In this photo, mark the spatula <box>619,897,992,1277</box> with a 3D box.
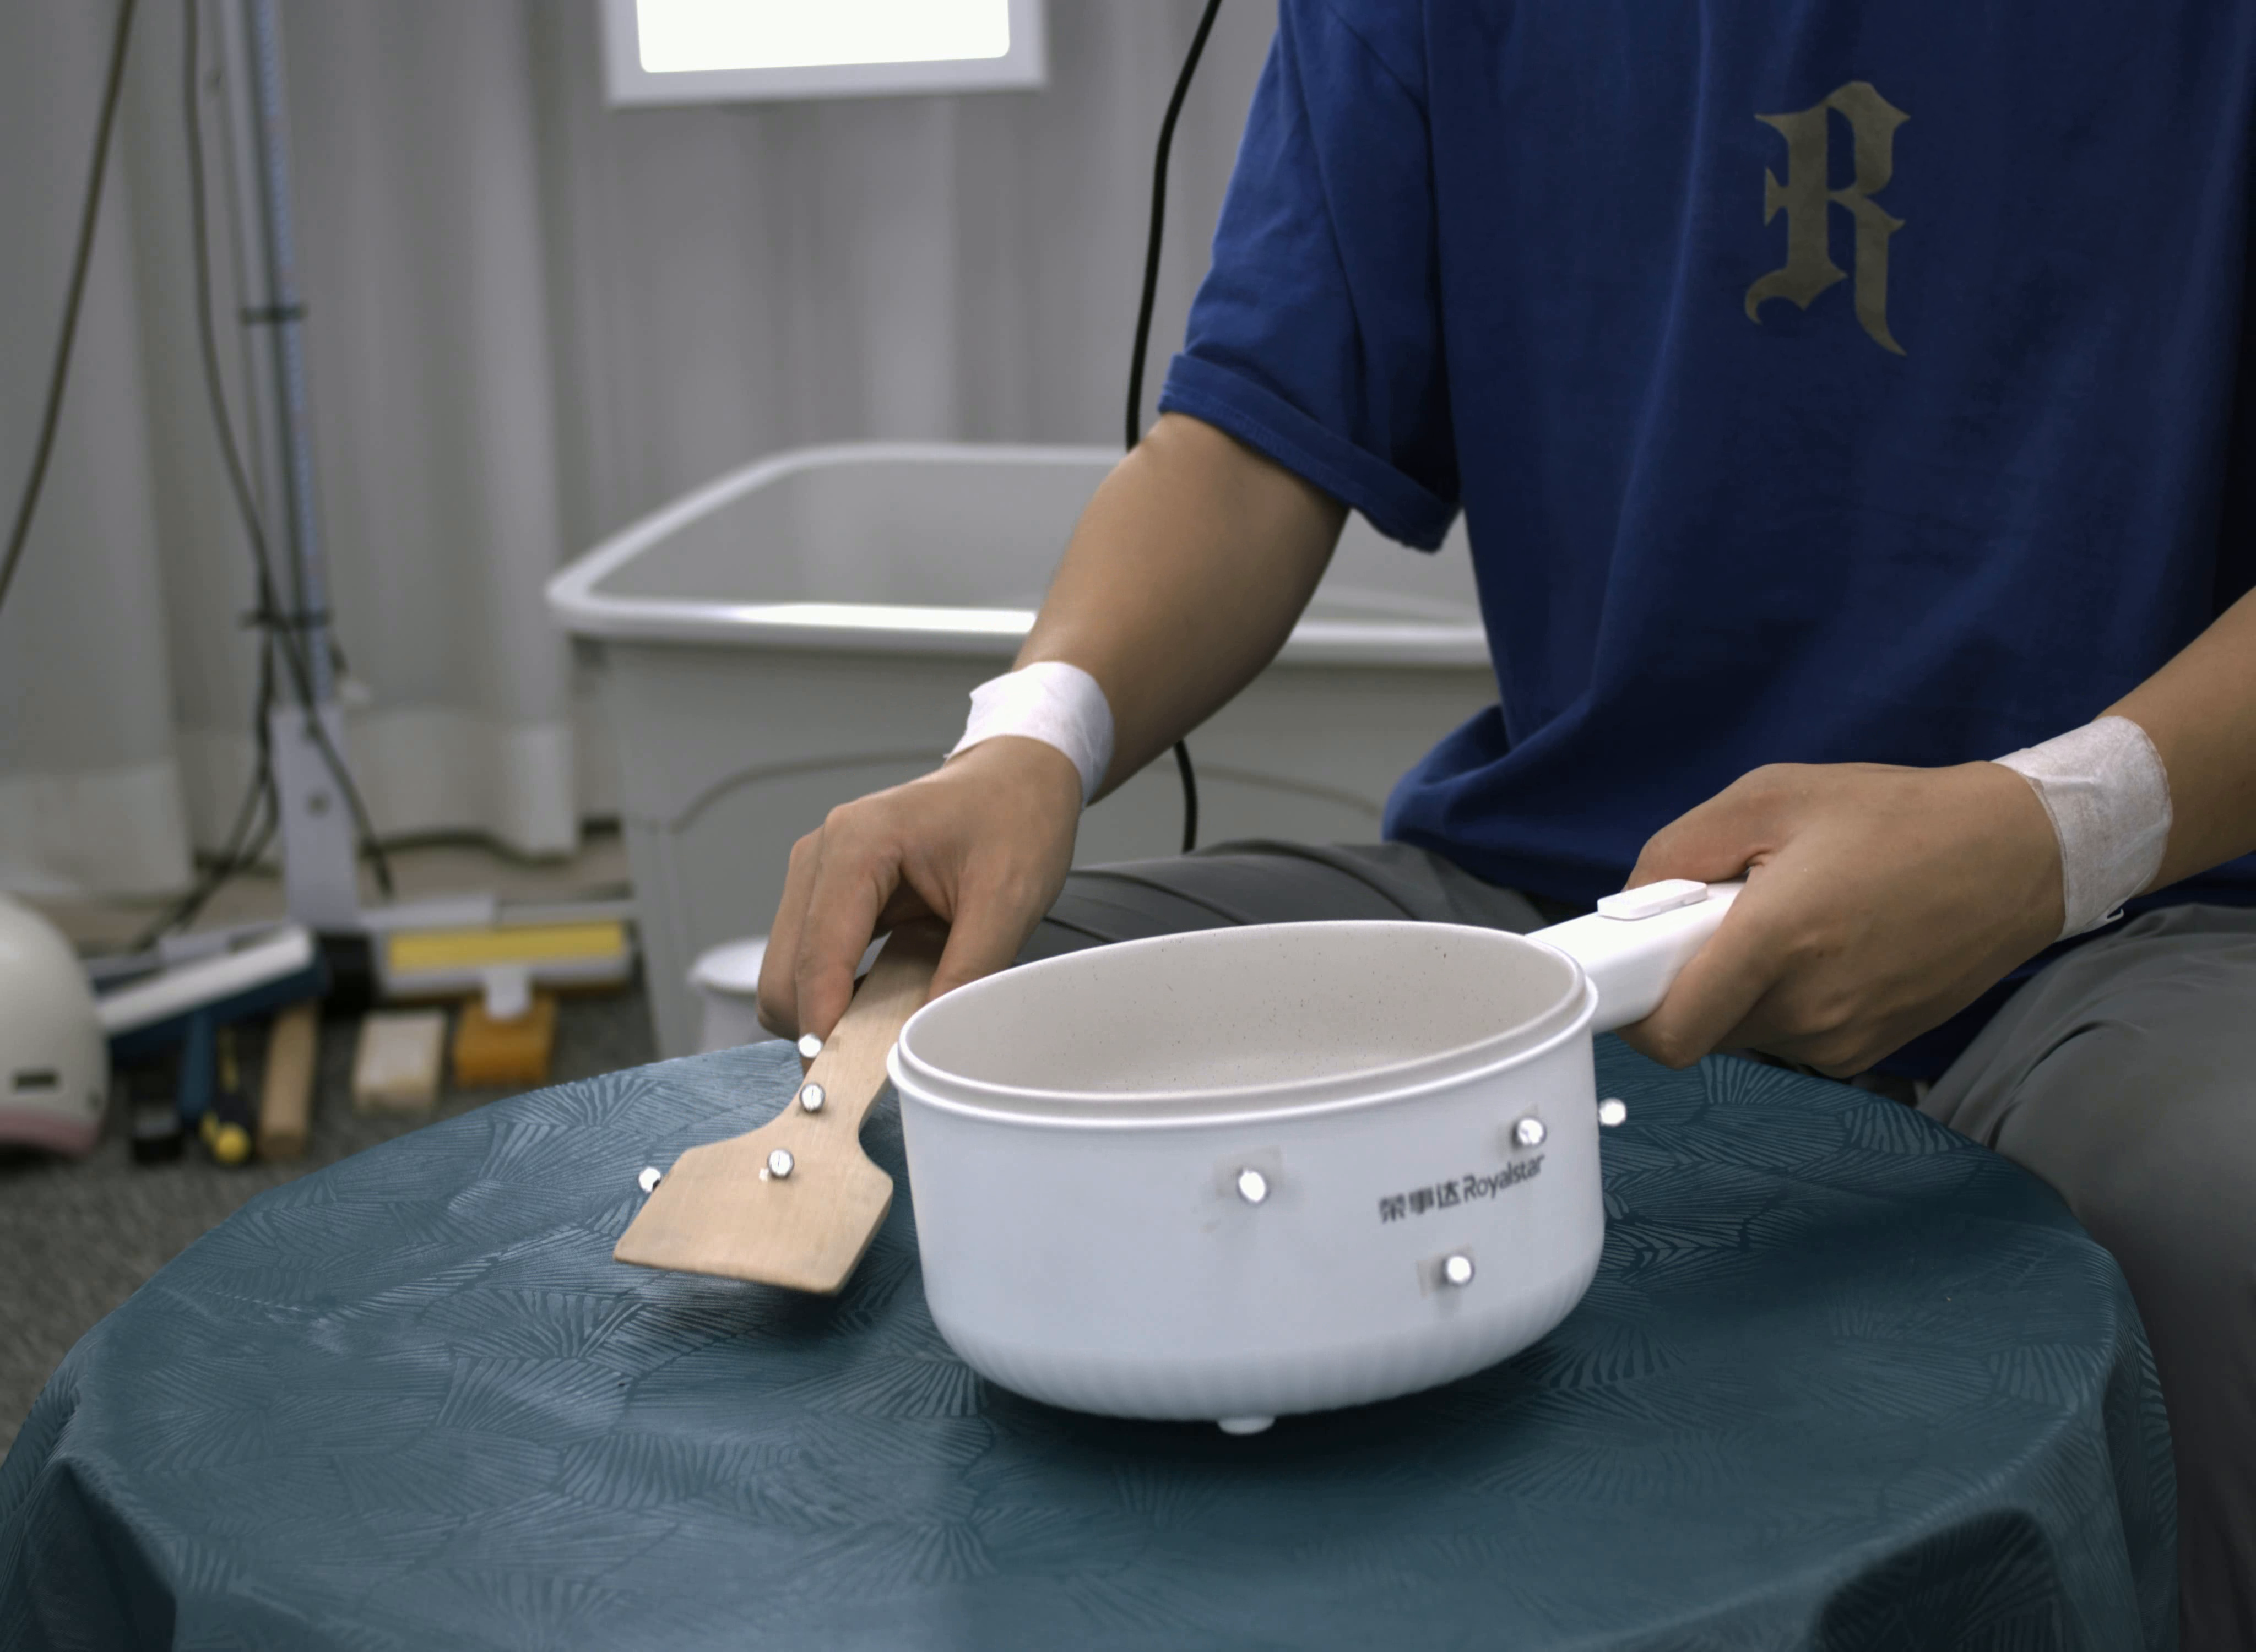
[{"bbox_3d":[-0.089,0.078,1.733,0.072,0.010,0.295,5,22,10],"label":"spatula"}]

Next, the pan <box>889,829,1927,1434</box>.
[{"bbox_3d":[0.097,0.084,1.588,0.354,0.102,0.202,-15,12,-36],"label":"pan"}]
